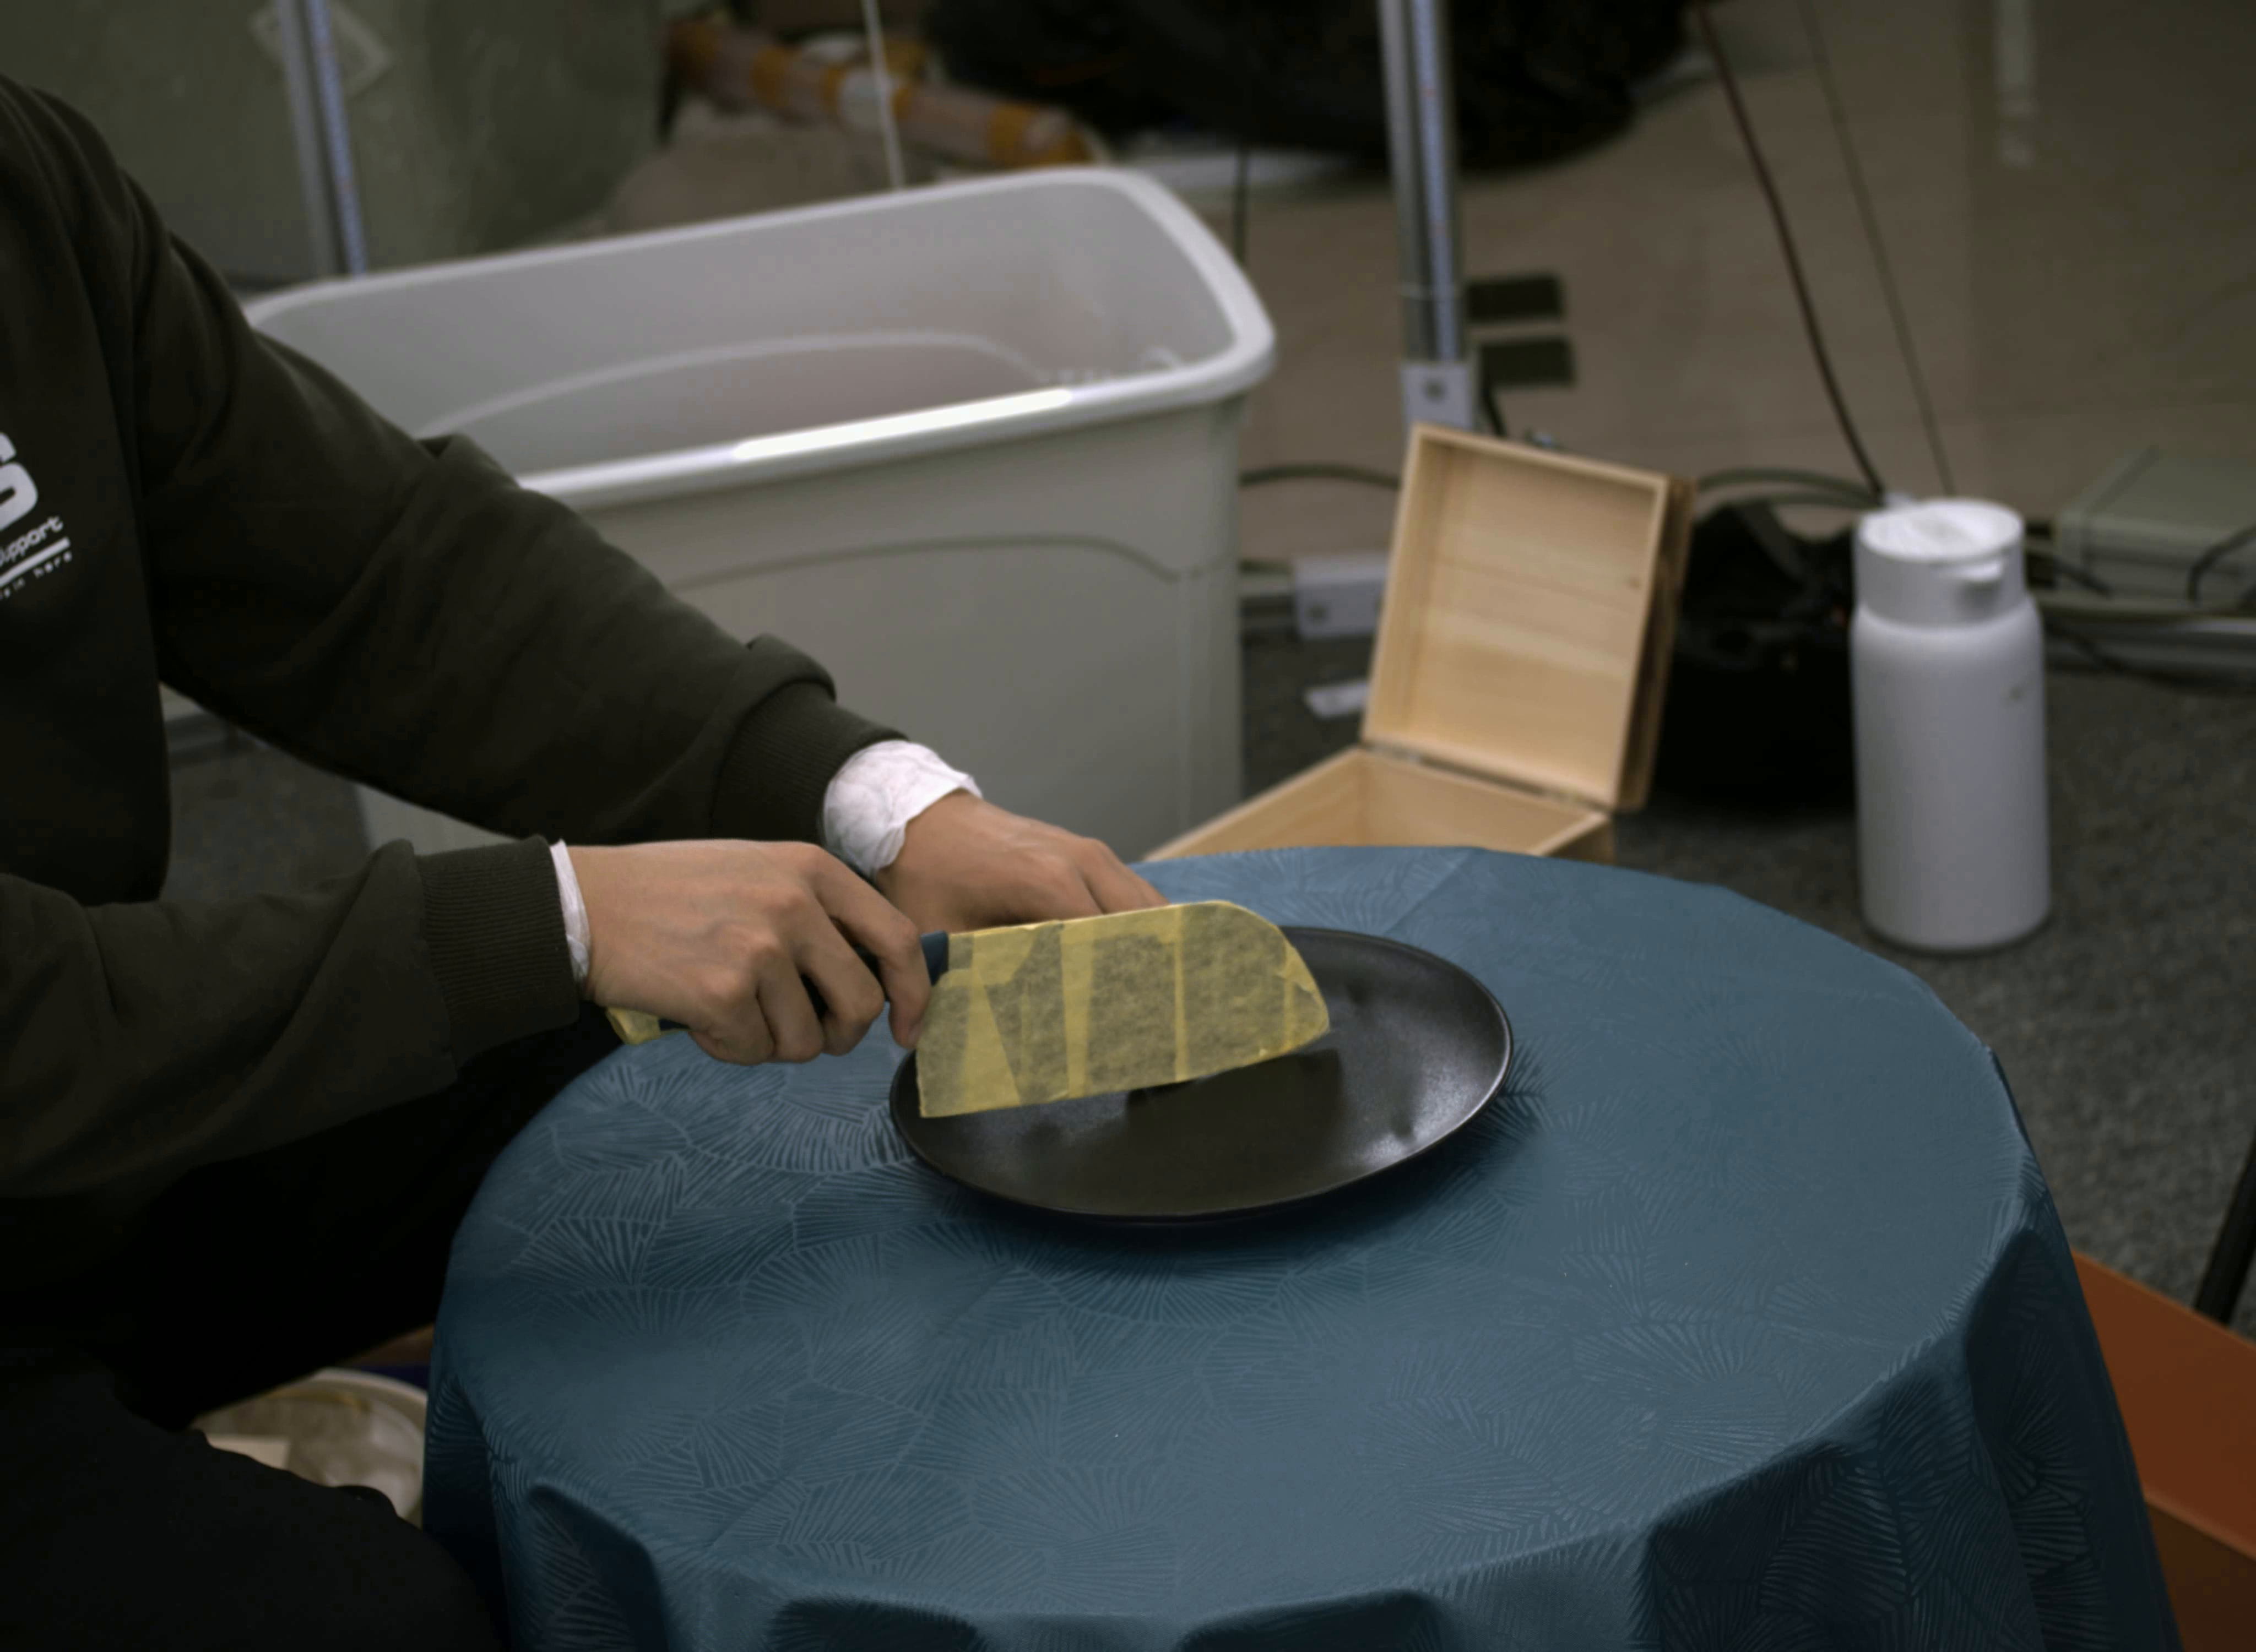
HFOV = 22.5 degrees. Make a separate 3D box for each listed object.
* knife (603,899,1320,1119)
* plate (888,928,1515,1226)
[{"bbox_3d":[-0.060,0.072,2.169,0.289,0.082,0.027,-3,15,-19],"label":"knife"},{"bbox_3d":[0.029,0.102,2.197,0.244,0.024,0.241,-5,25,3],"label":"plate"}]
